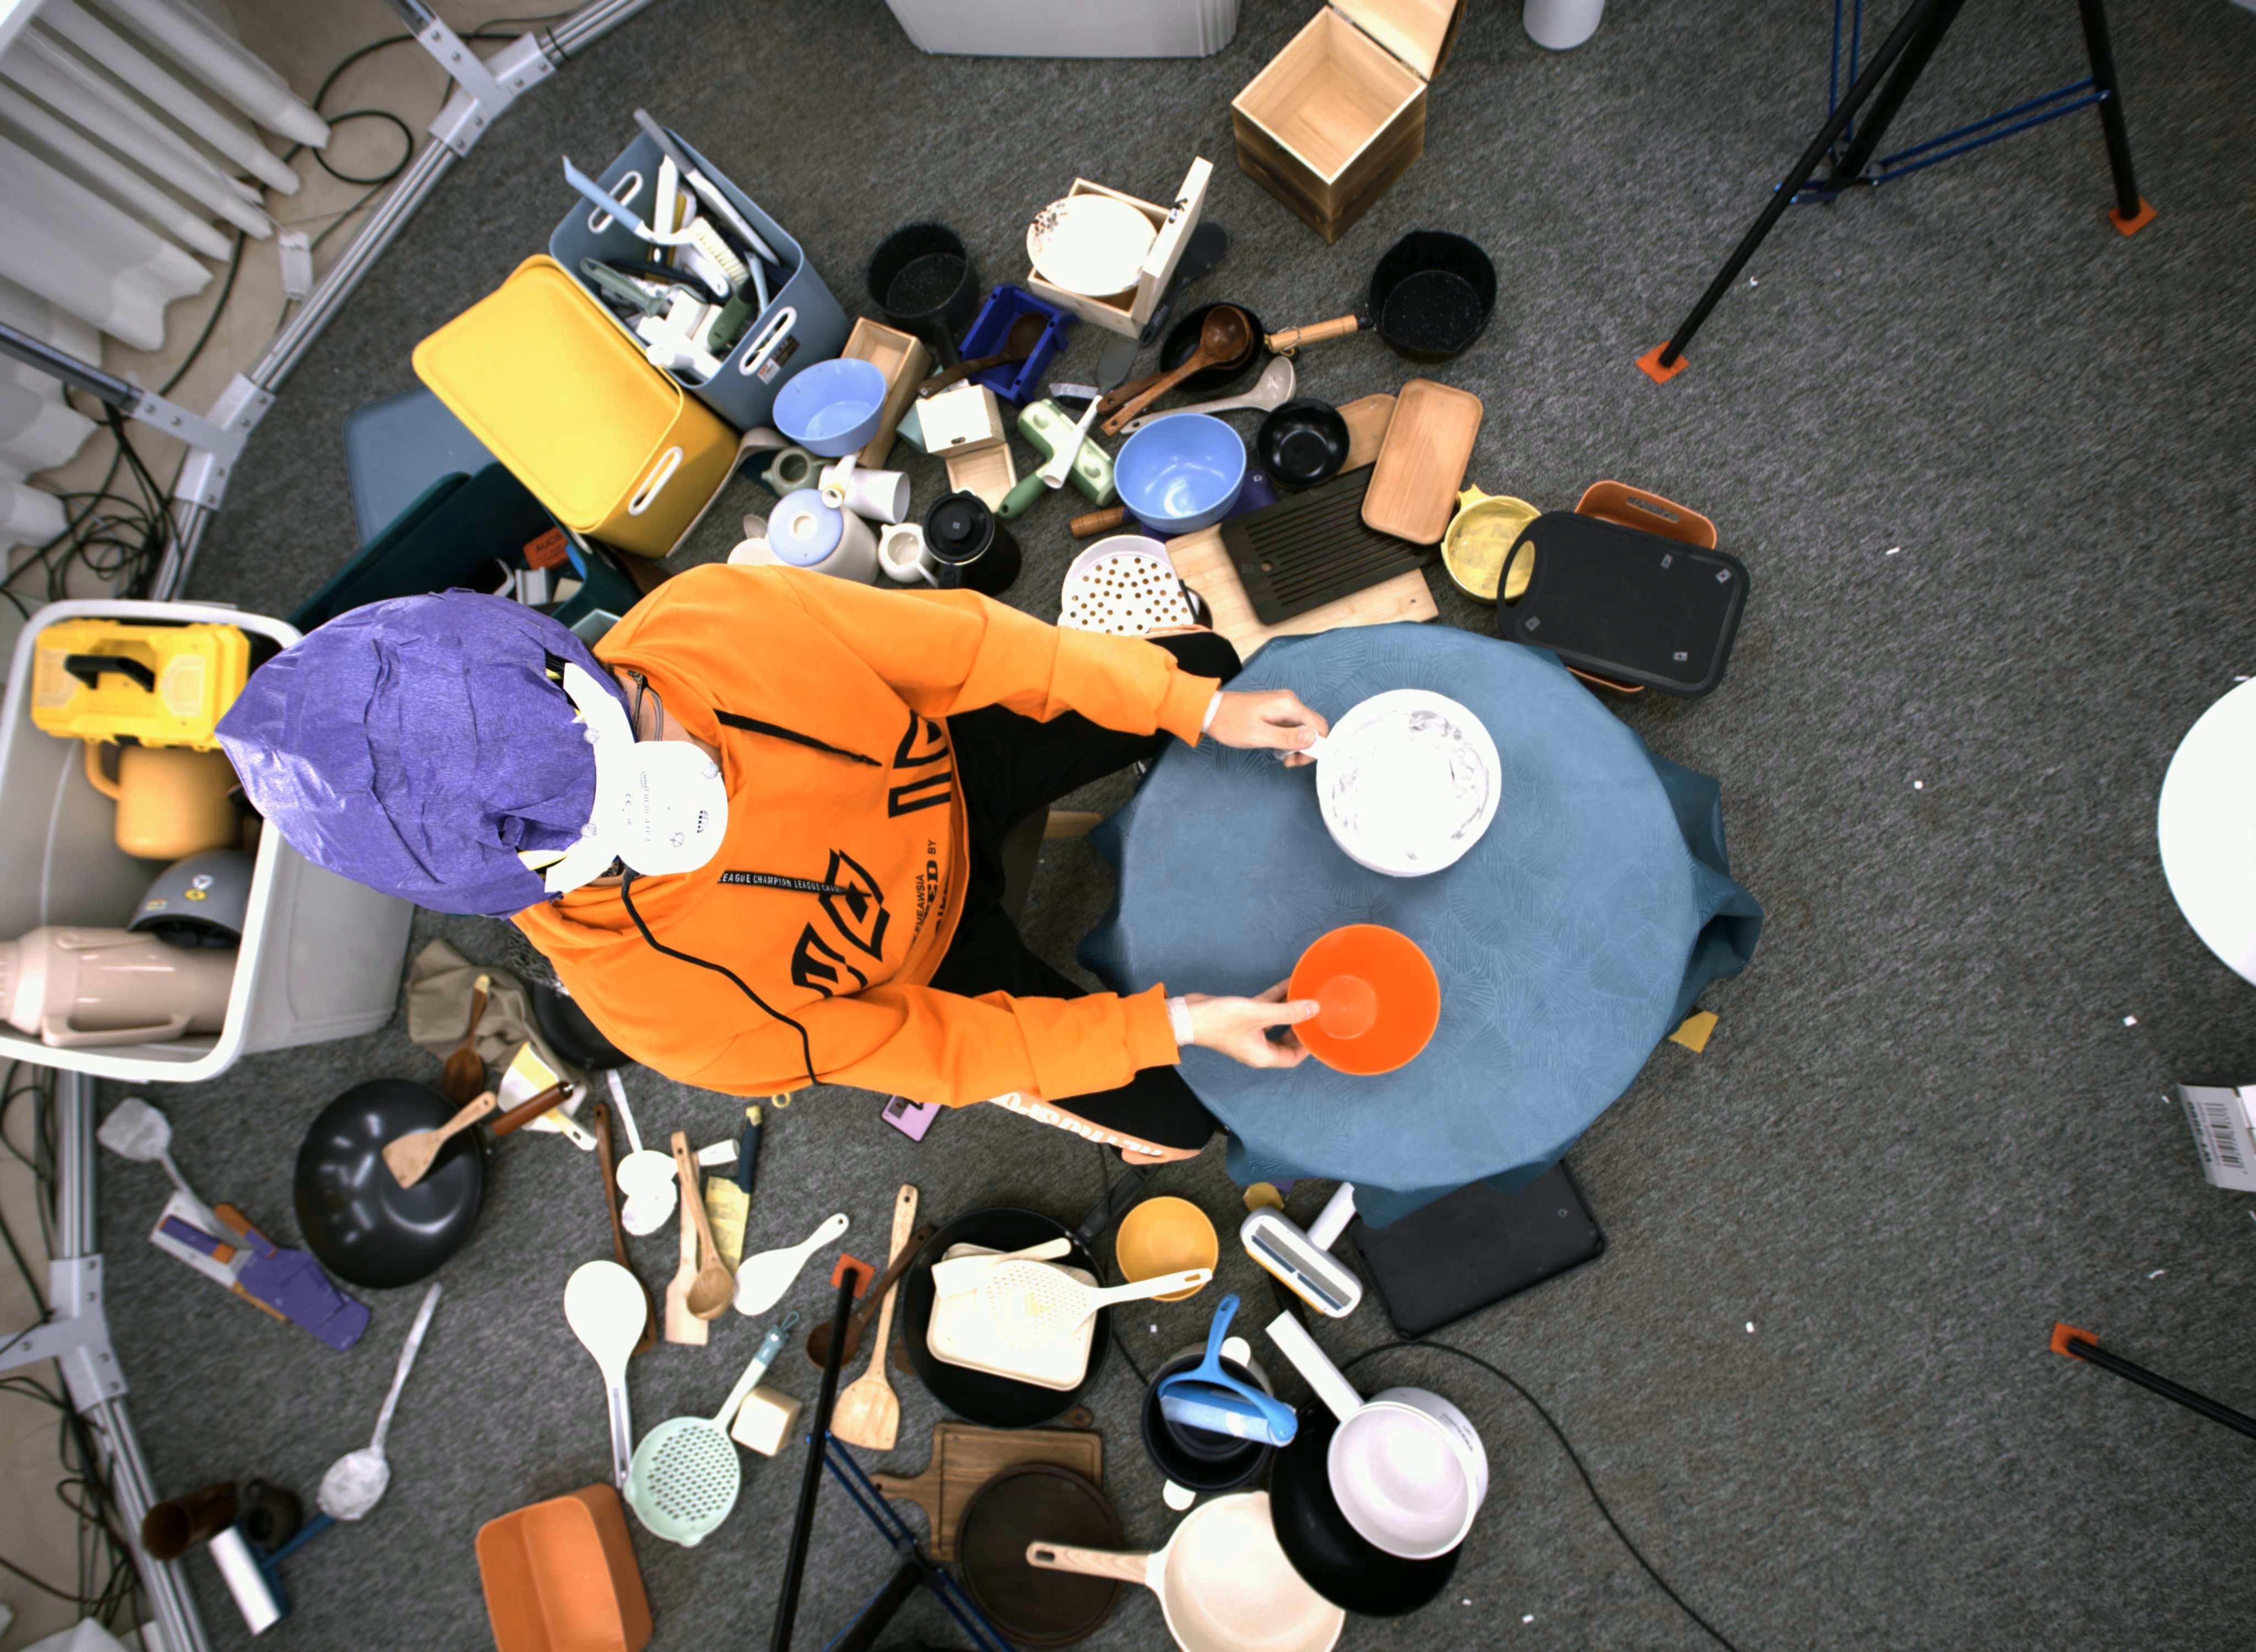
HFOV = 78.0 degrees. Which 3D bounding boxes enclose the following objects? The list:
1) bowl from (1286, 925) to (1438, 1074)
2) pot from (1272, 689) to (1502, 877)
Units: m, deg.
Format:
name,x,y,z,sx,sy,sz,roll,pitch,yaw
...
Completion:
name,x,y,z,sx,sy,sz,roll,pitch,yaw
bowl,0.233,0.175,1.403,0.148,0.105,0.147,-1,85,5
pot,0.256,-0.050,1.399,0.233,0.137,0.178,22,89,10
